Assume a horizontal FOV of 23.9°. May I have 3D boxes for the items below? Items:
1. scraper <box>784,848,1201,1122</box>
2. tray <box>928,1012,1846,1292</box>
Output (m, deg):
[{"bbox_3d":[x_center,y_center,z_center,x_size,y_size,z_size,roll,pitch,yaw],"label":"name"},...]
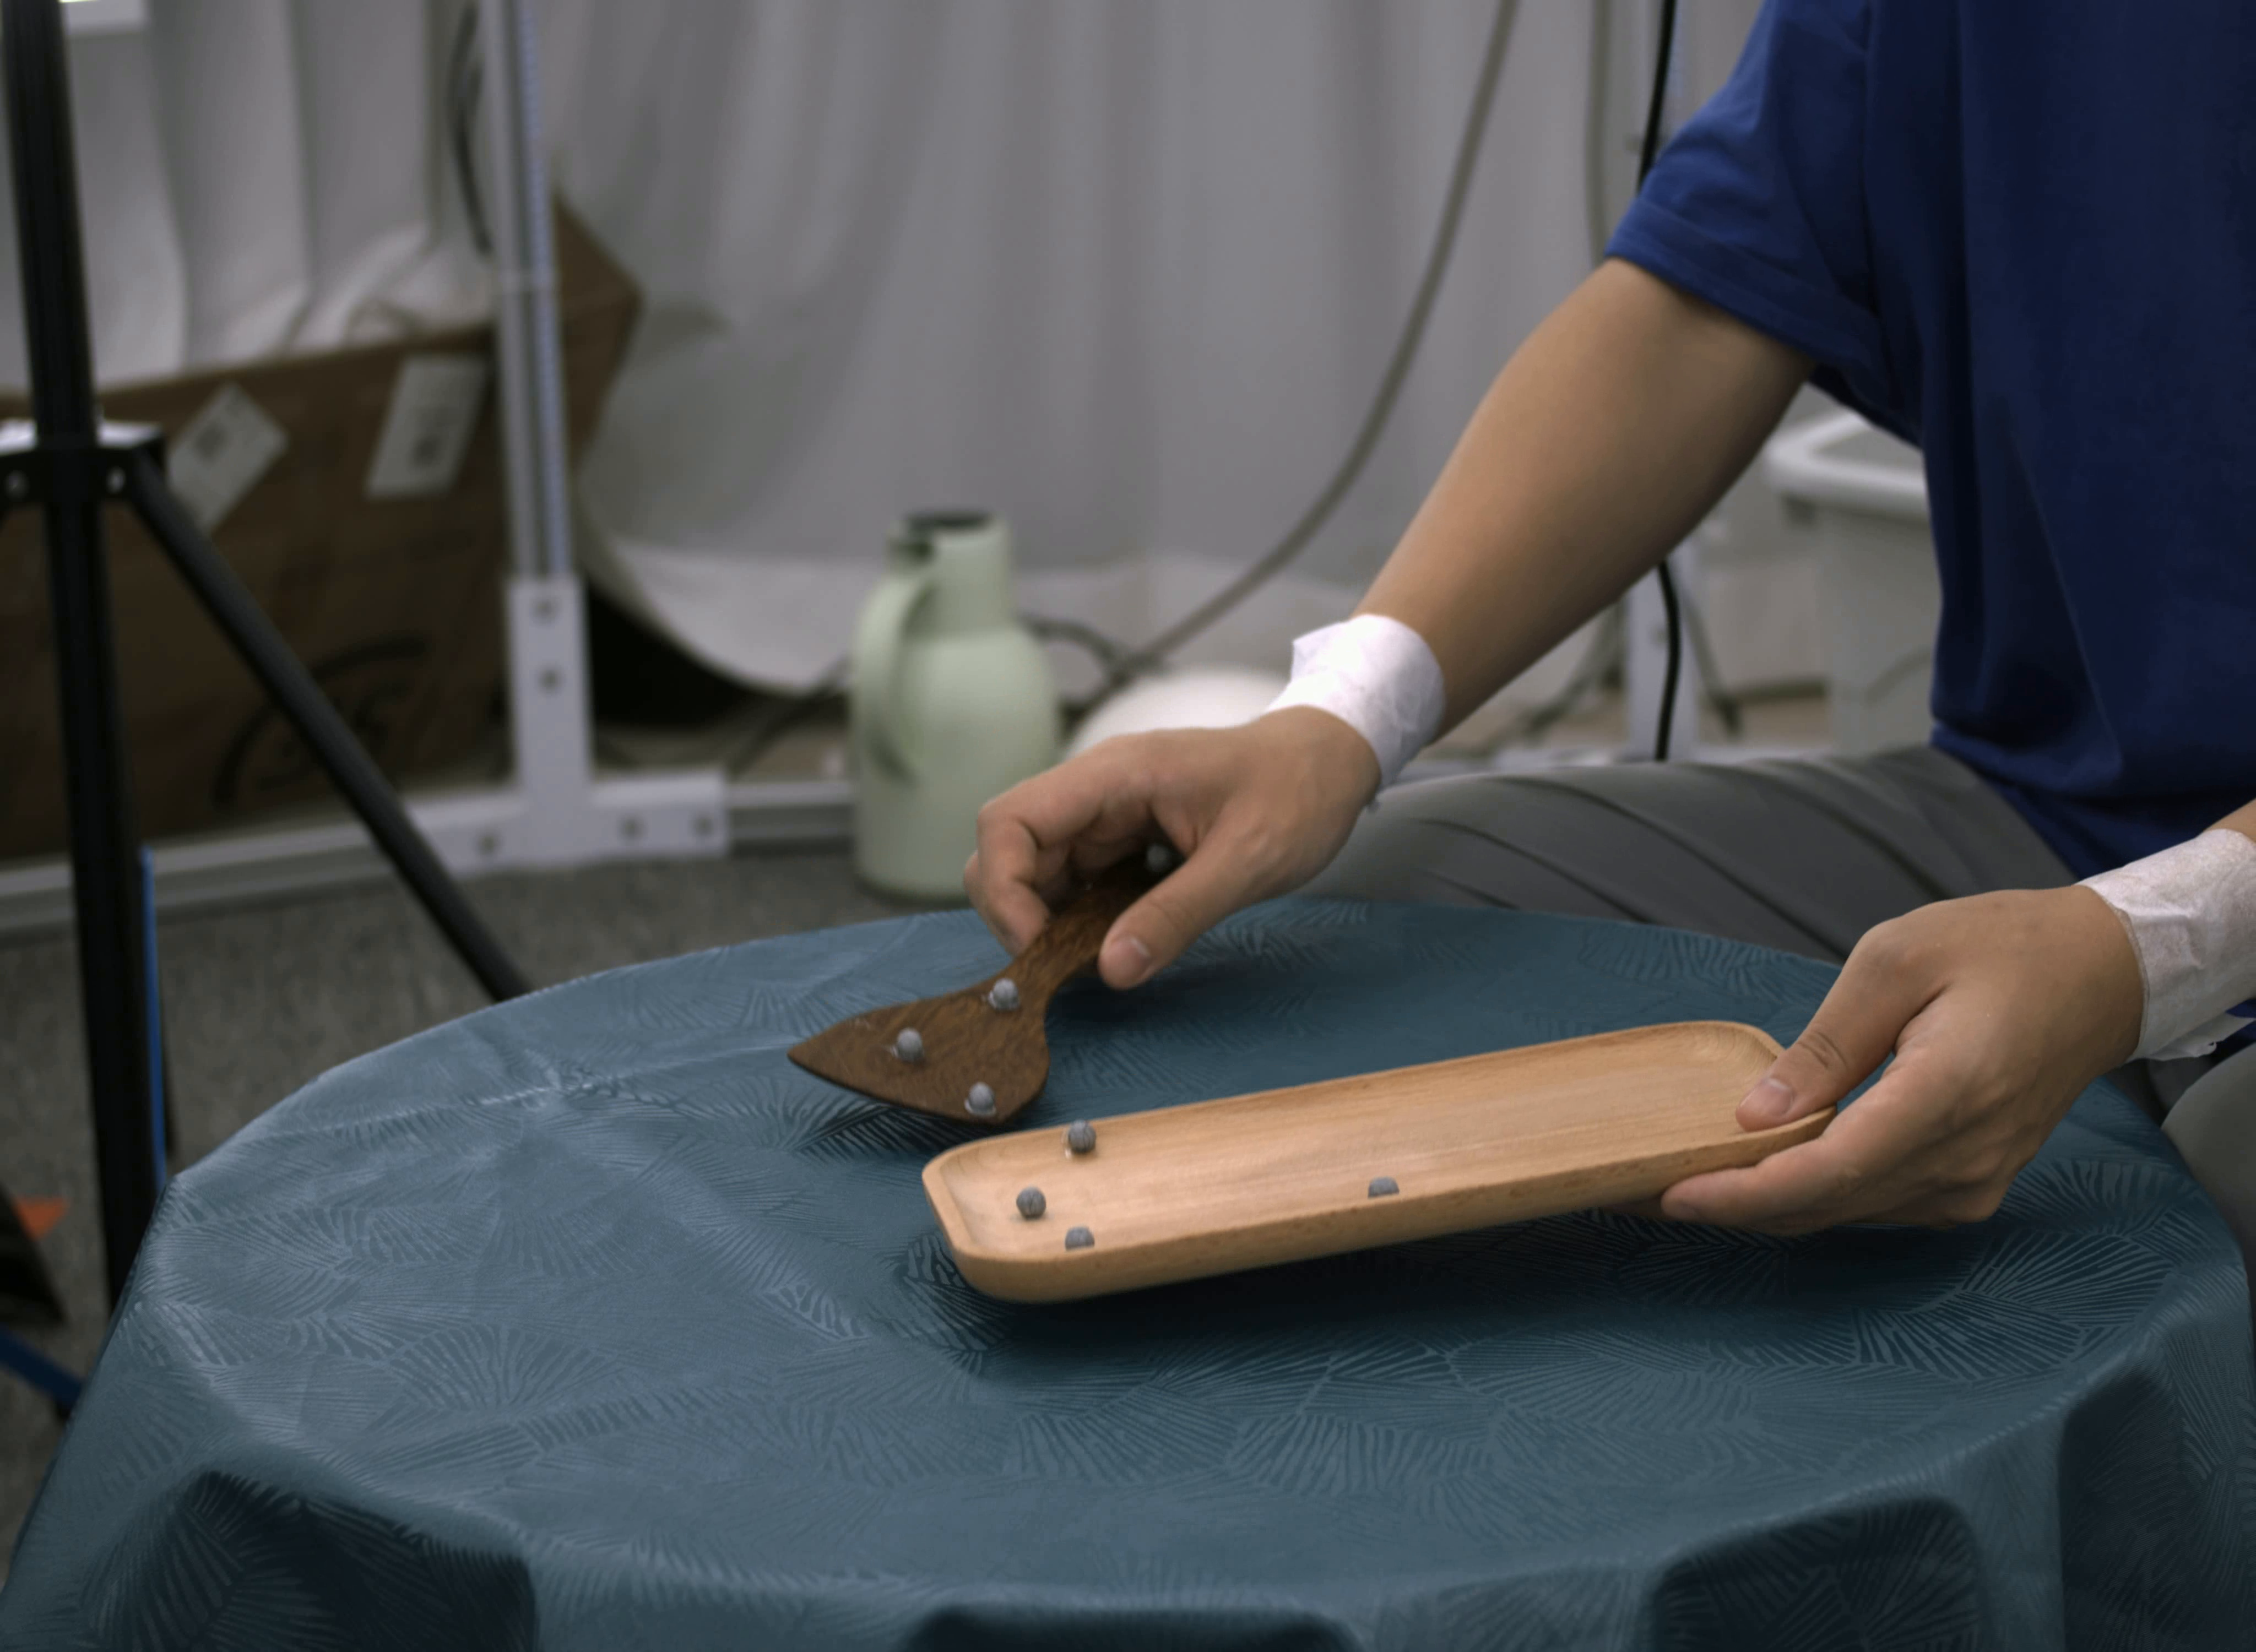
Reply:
[{"bbox_3d":[-0.031,0.047,1.687,0.077,0.011,0.208,18,27,21],"label":"scraper"},{"bbox_3d":[0.071,0.091,1.491,0.248,0.023,0.132,-8,15,-5],"label":"tray"}]
